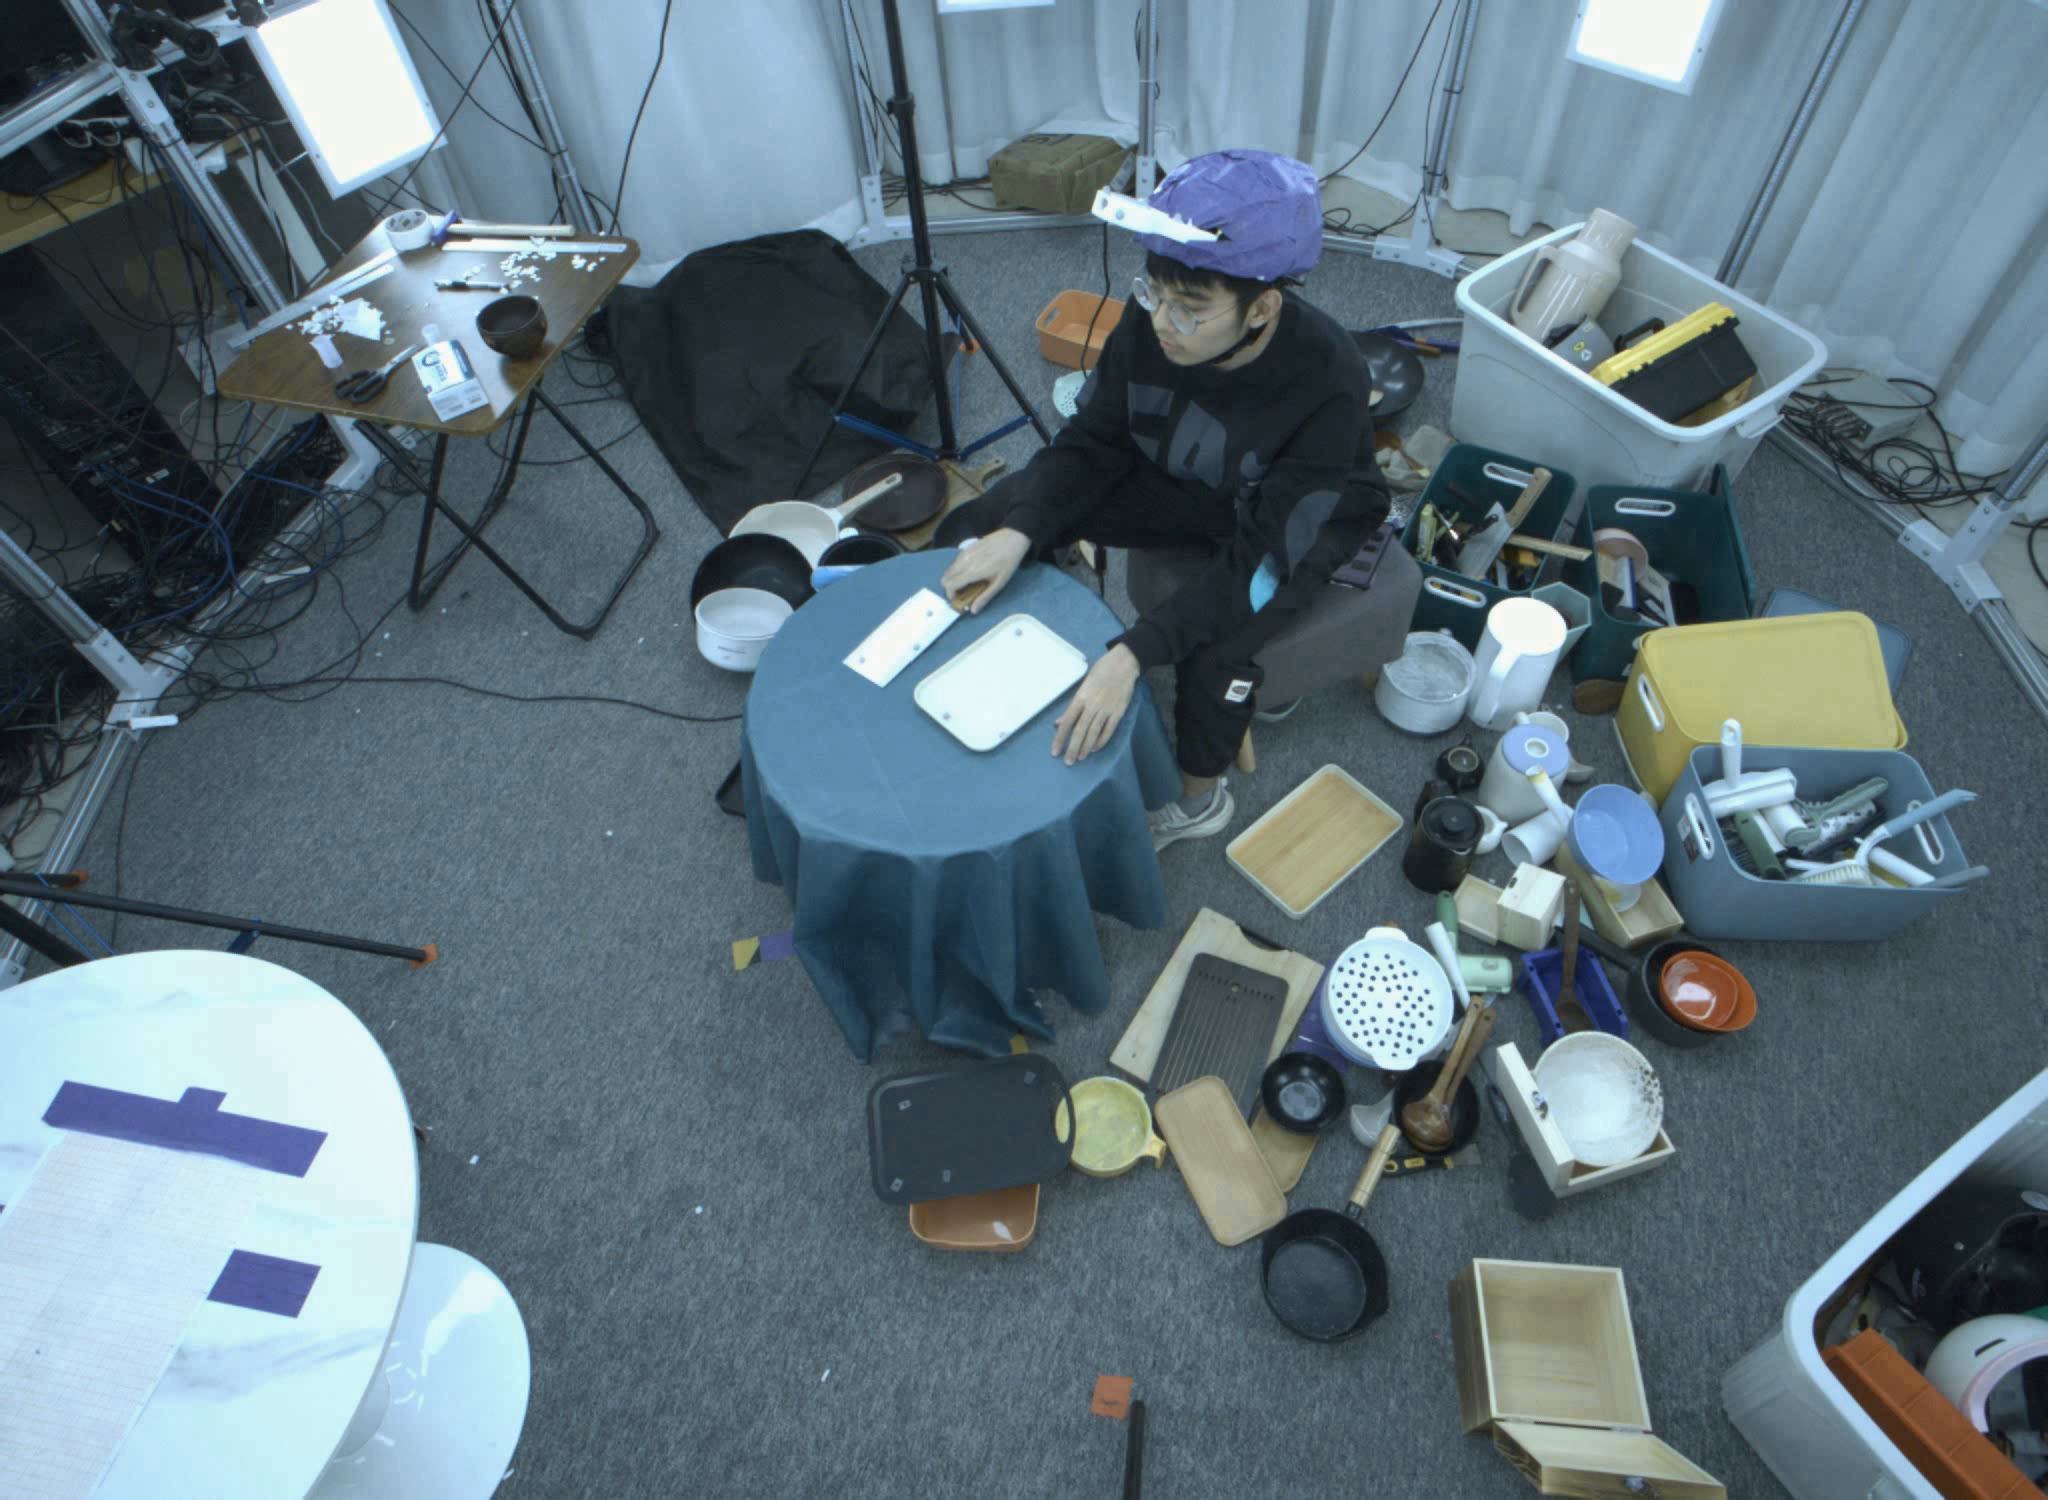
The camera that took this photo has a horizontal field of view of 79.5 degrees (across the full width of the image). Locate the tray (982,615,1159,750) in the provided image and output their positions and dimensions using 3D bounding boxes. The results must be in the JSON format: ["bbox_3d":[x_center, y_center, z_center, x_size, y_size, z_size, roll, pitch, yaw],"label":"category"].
[{"bbox_3d":[0.071,-0.102,1.845,0.241,0.017,0.168,-35,60,-20],"label":"tray"}]

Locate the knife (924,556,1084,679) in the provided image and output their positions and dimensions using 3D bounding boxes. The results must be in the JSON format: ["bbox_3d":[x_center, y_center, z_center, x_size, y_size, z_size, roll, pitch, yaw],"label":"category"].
[{"bbox_3d":[-0.034,-0.222,1.936,0.091,0.021,0.307,36,66,26],"label":"knife"}]
